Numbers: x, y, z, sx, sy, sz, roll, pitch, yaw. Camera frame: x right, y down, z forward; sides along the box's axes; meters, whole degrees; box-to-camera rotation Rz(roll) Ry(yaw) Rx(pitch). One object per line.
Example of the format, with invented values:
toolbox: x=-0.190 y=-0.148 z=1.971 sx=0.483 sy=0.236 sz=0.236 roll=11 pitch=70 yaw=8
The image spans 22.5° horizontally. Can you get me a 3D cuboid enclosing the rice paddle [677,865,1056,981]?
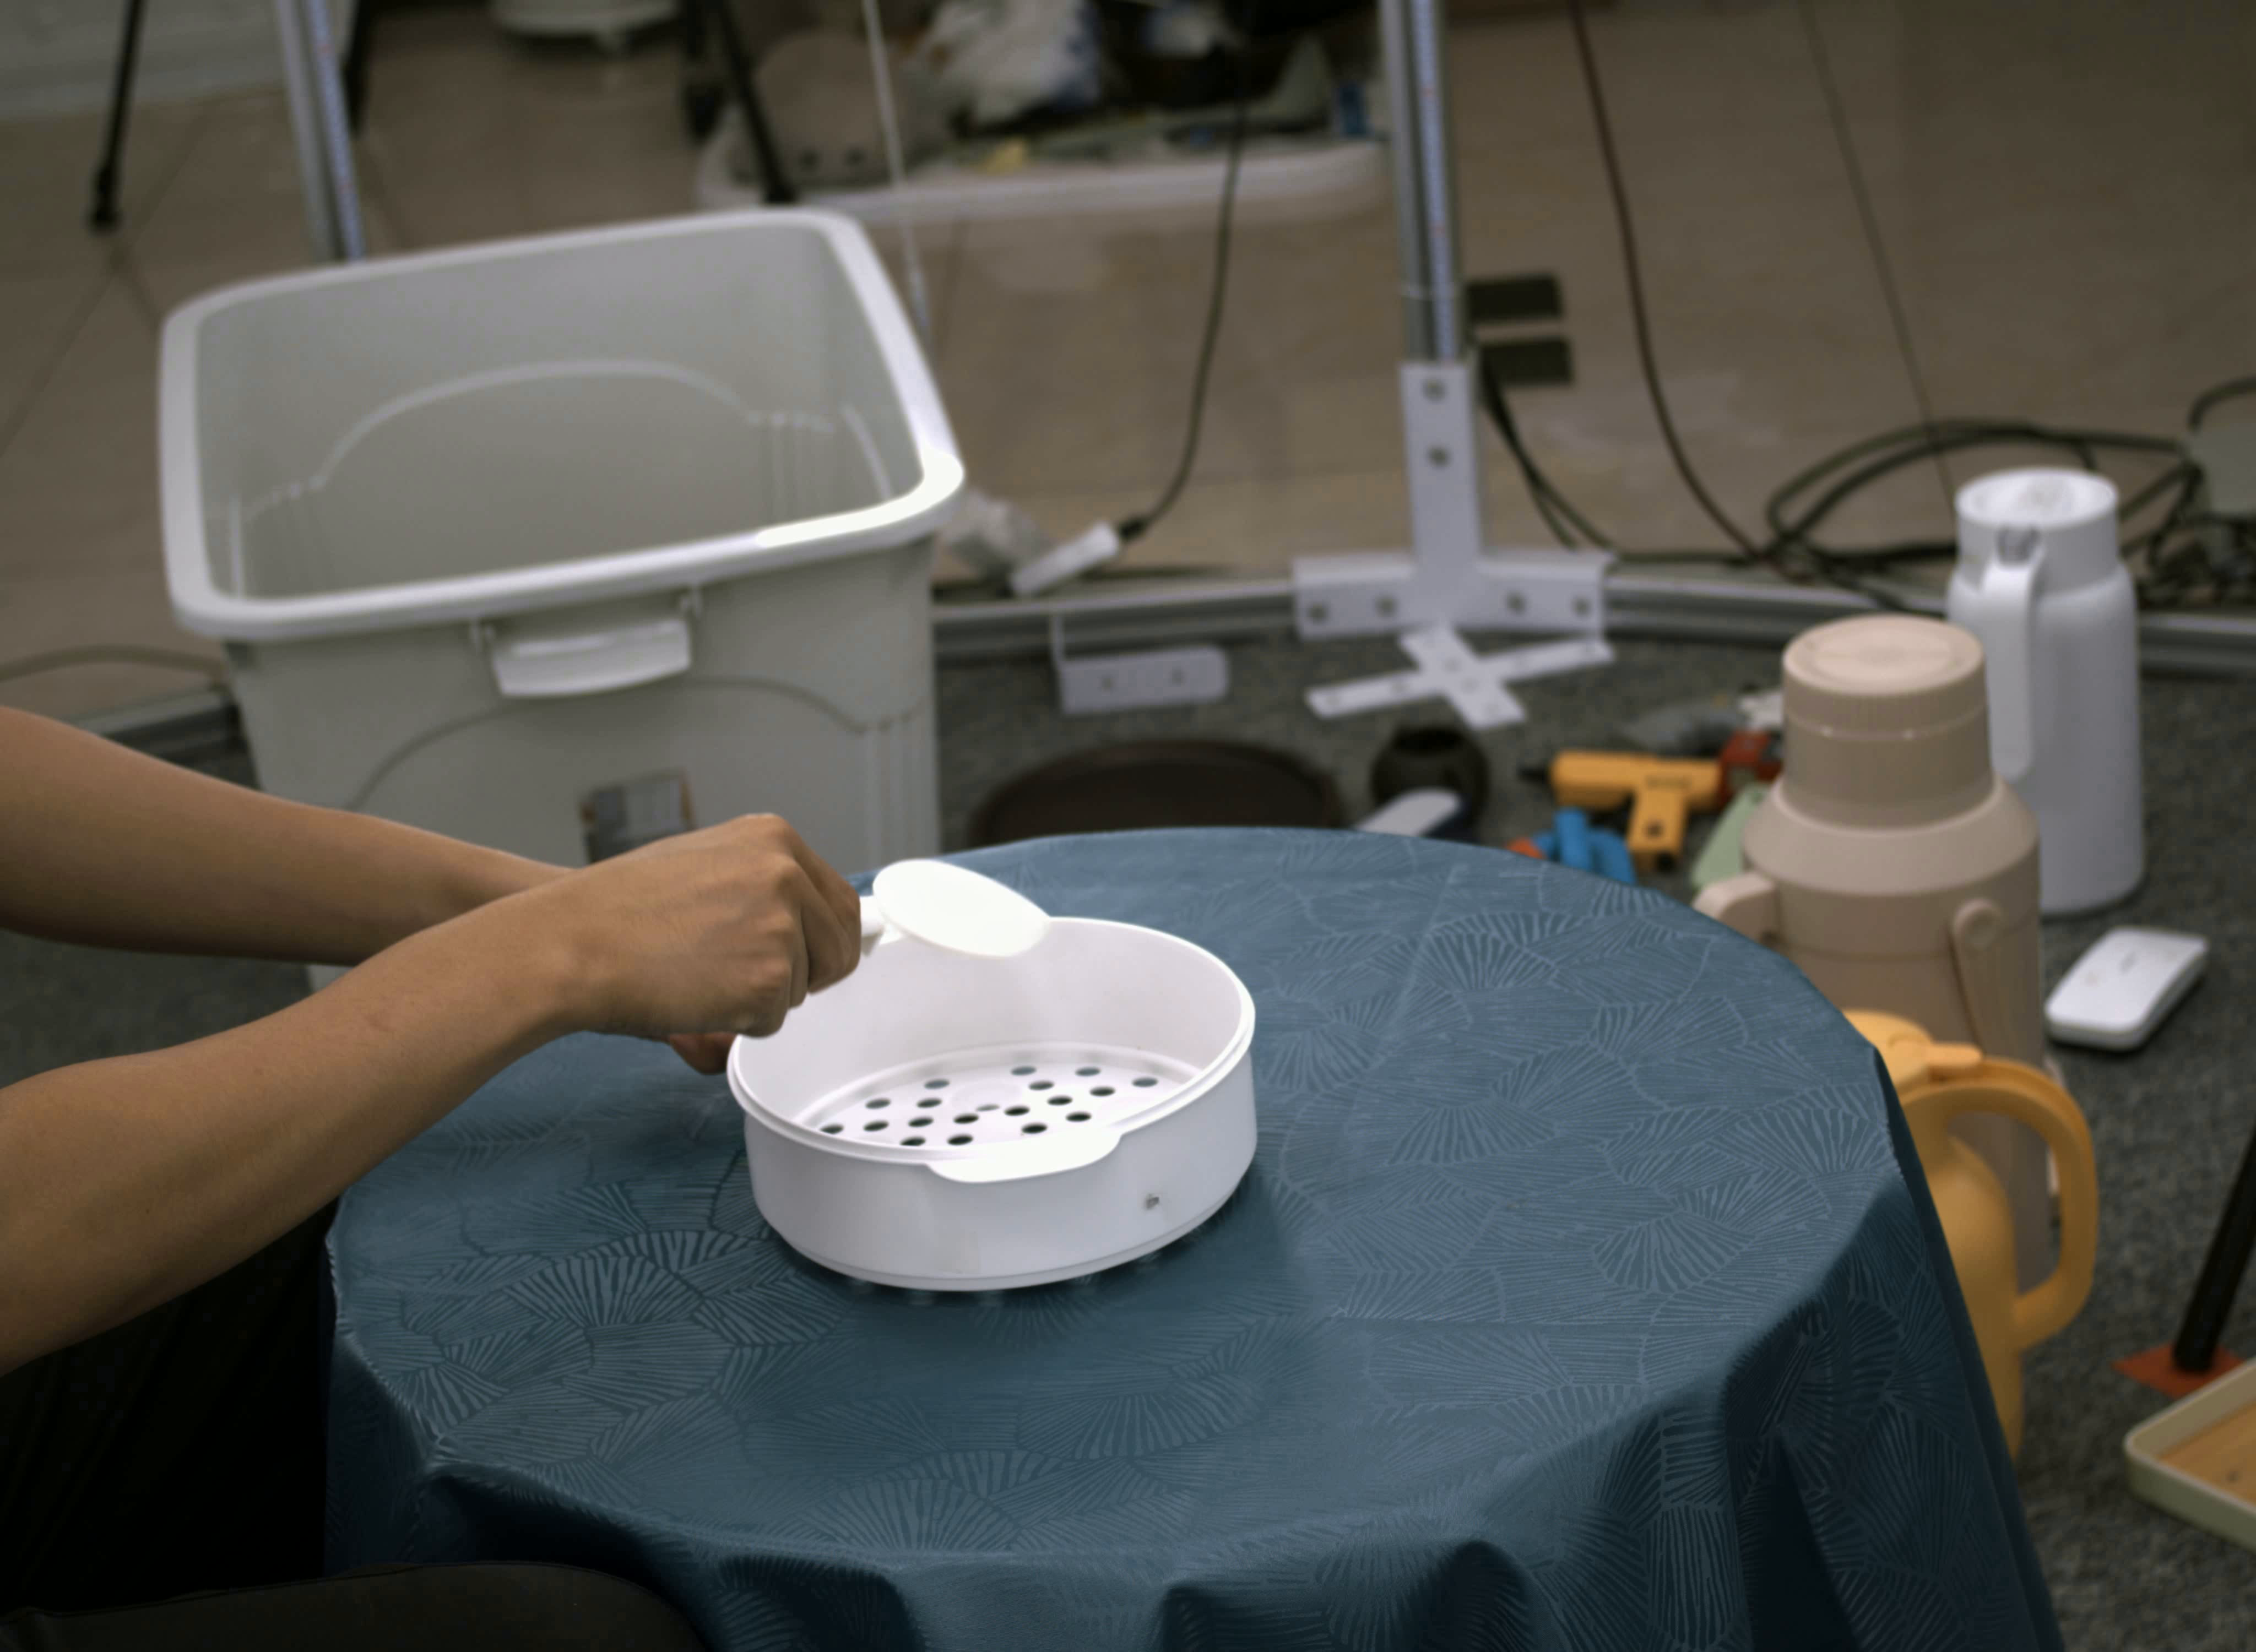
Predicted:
rice paddle: x=-0.093 y=0.035 z=2.105 sx=0.068 sy=0.030 sz=0.205 roll=38 pitch=21 yaw=26

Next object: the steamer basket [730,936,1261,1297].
steamer basket: x=-0.048 y=0.110 z=2.149 sx=0.201 sy=0.070 sz=0.227 roll=-8 pitch=22 yaw=-5
